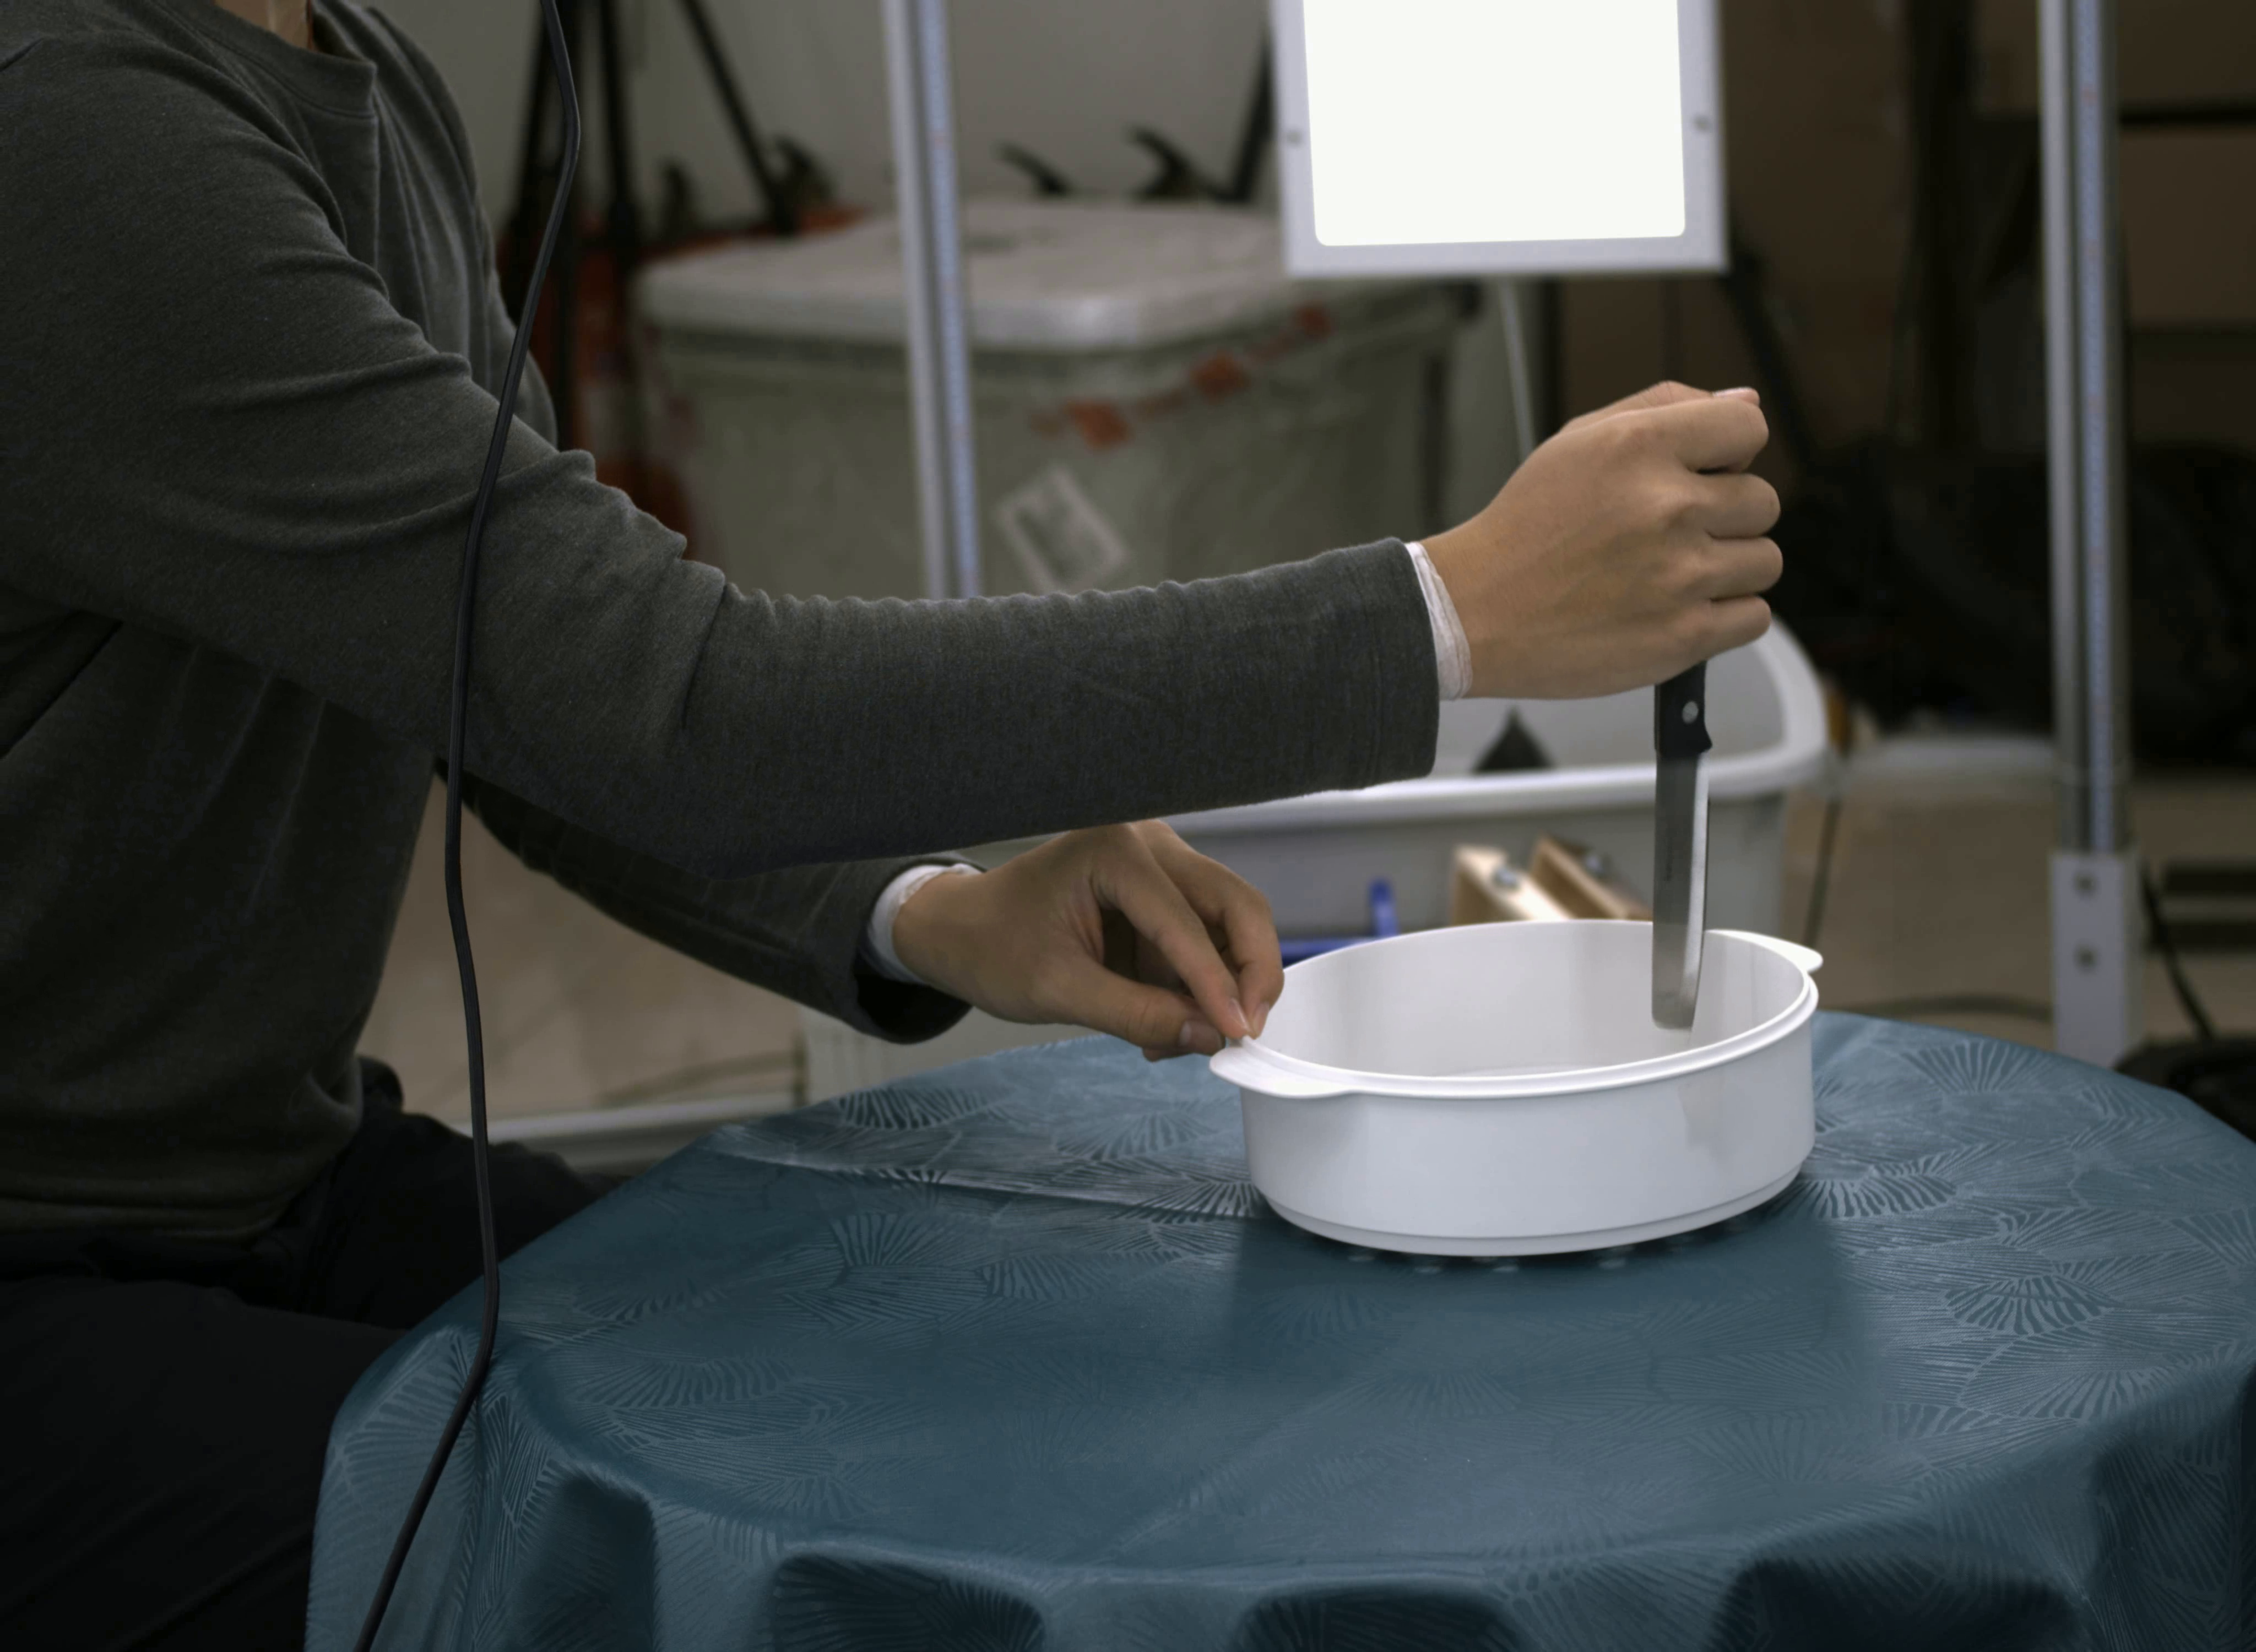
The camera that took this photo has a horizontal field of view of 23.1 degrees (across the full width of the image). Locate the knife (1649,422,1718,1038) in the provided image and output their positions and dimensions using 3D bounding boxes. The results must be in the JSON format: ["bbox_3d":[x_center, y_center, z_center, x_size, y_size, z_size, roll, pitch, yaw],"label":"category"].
[{"bbox_3d":[0.190,-0.019,1.871,0.024,0.239,0.016,-4,13,-18],"label":"knife"}]

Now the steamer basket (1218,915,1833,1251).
[{"bbox_3d":[0.140,0.087,1.867,0.225,0.069,0.205,-13,15,-27],"label":"steamer basket"}]
